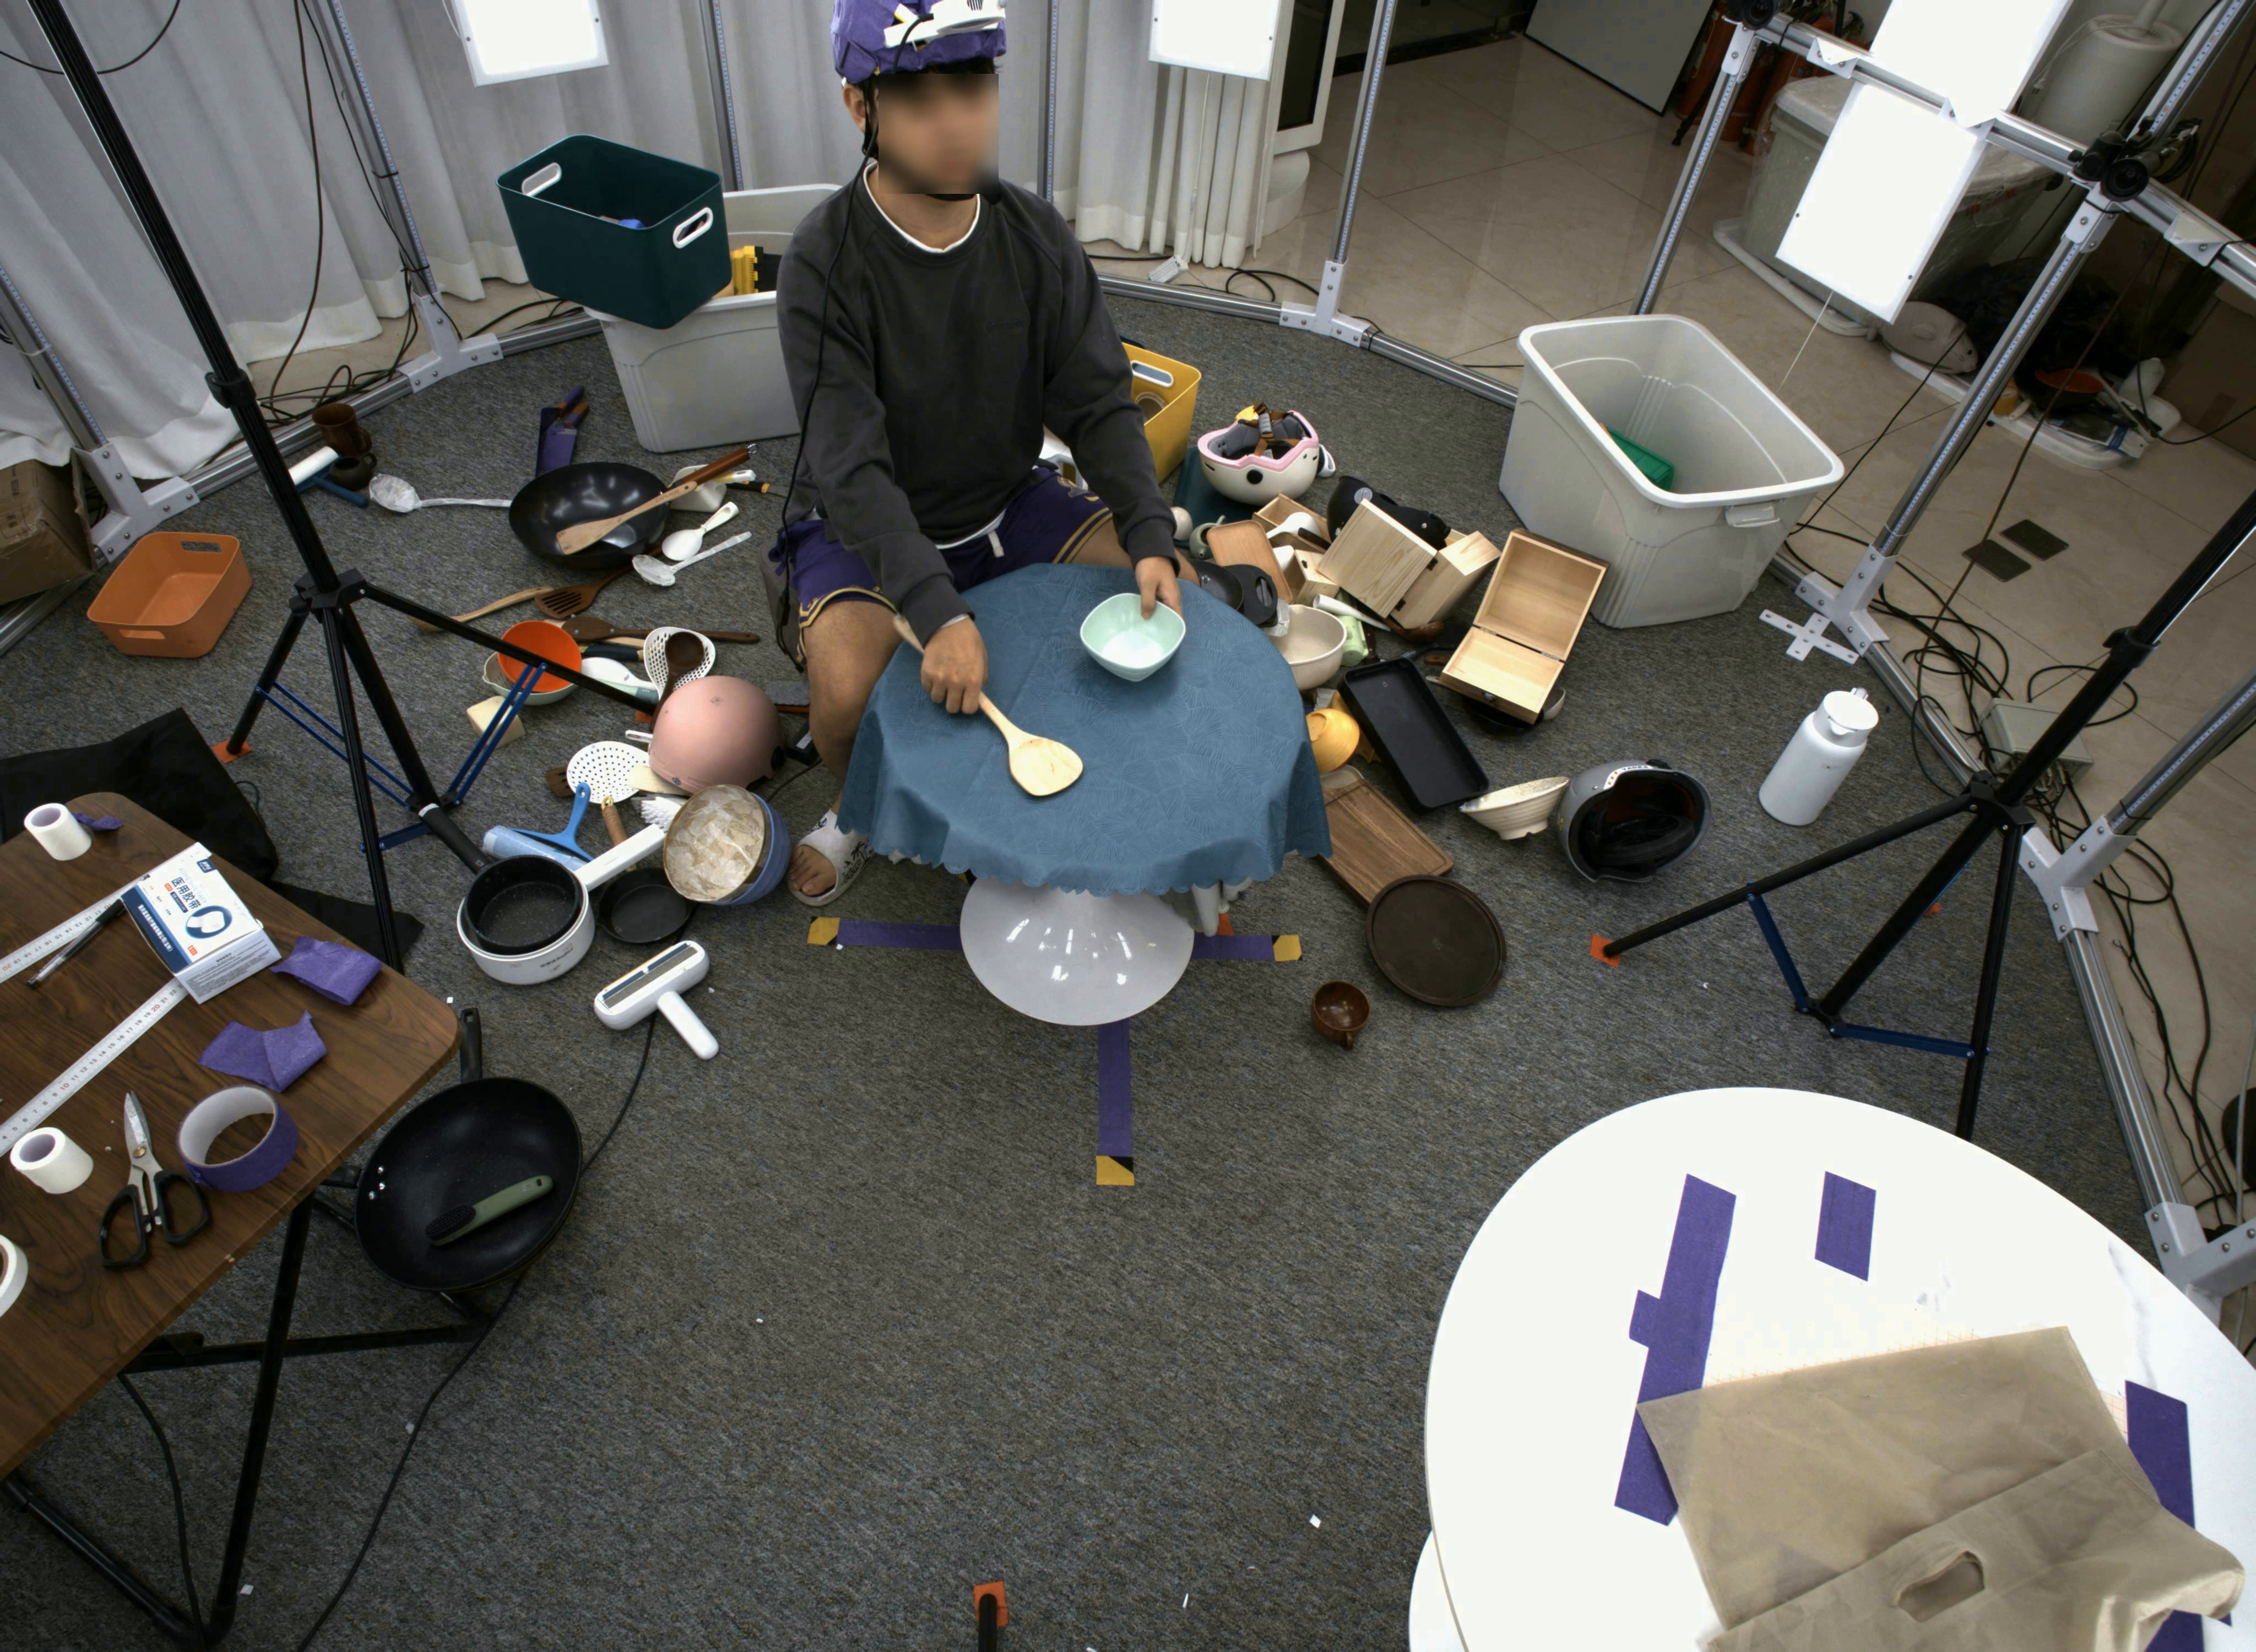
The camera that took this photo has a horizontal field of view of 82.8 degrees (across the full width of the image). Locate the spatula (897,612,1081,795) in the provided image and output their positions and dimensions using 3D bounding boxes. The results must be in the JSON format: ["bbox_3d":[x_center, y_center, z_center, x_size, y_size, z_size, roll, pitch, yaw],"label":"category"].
[{"bbox_3d":[-0.210,-0.178,1.784,0.096,0.018,0.397,-28,61,-28],"label":"spatula"}]

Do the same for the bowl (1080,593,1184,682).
[{"bbox_3d":[0.005,-0.264,1.858,0.151,0.057,0.155,1,52,-2],"label":"bowl"}]
